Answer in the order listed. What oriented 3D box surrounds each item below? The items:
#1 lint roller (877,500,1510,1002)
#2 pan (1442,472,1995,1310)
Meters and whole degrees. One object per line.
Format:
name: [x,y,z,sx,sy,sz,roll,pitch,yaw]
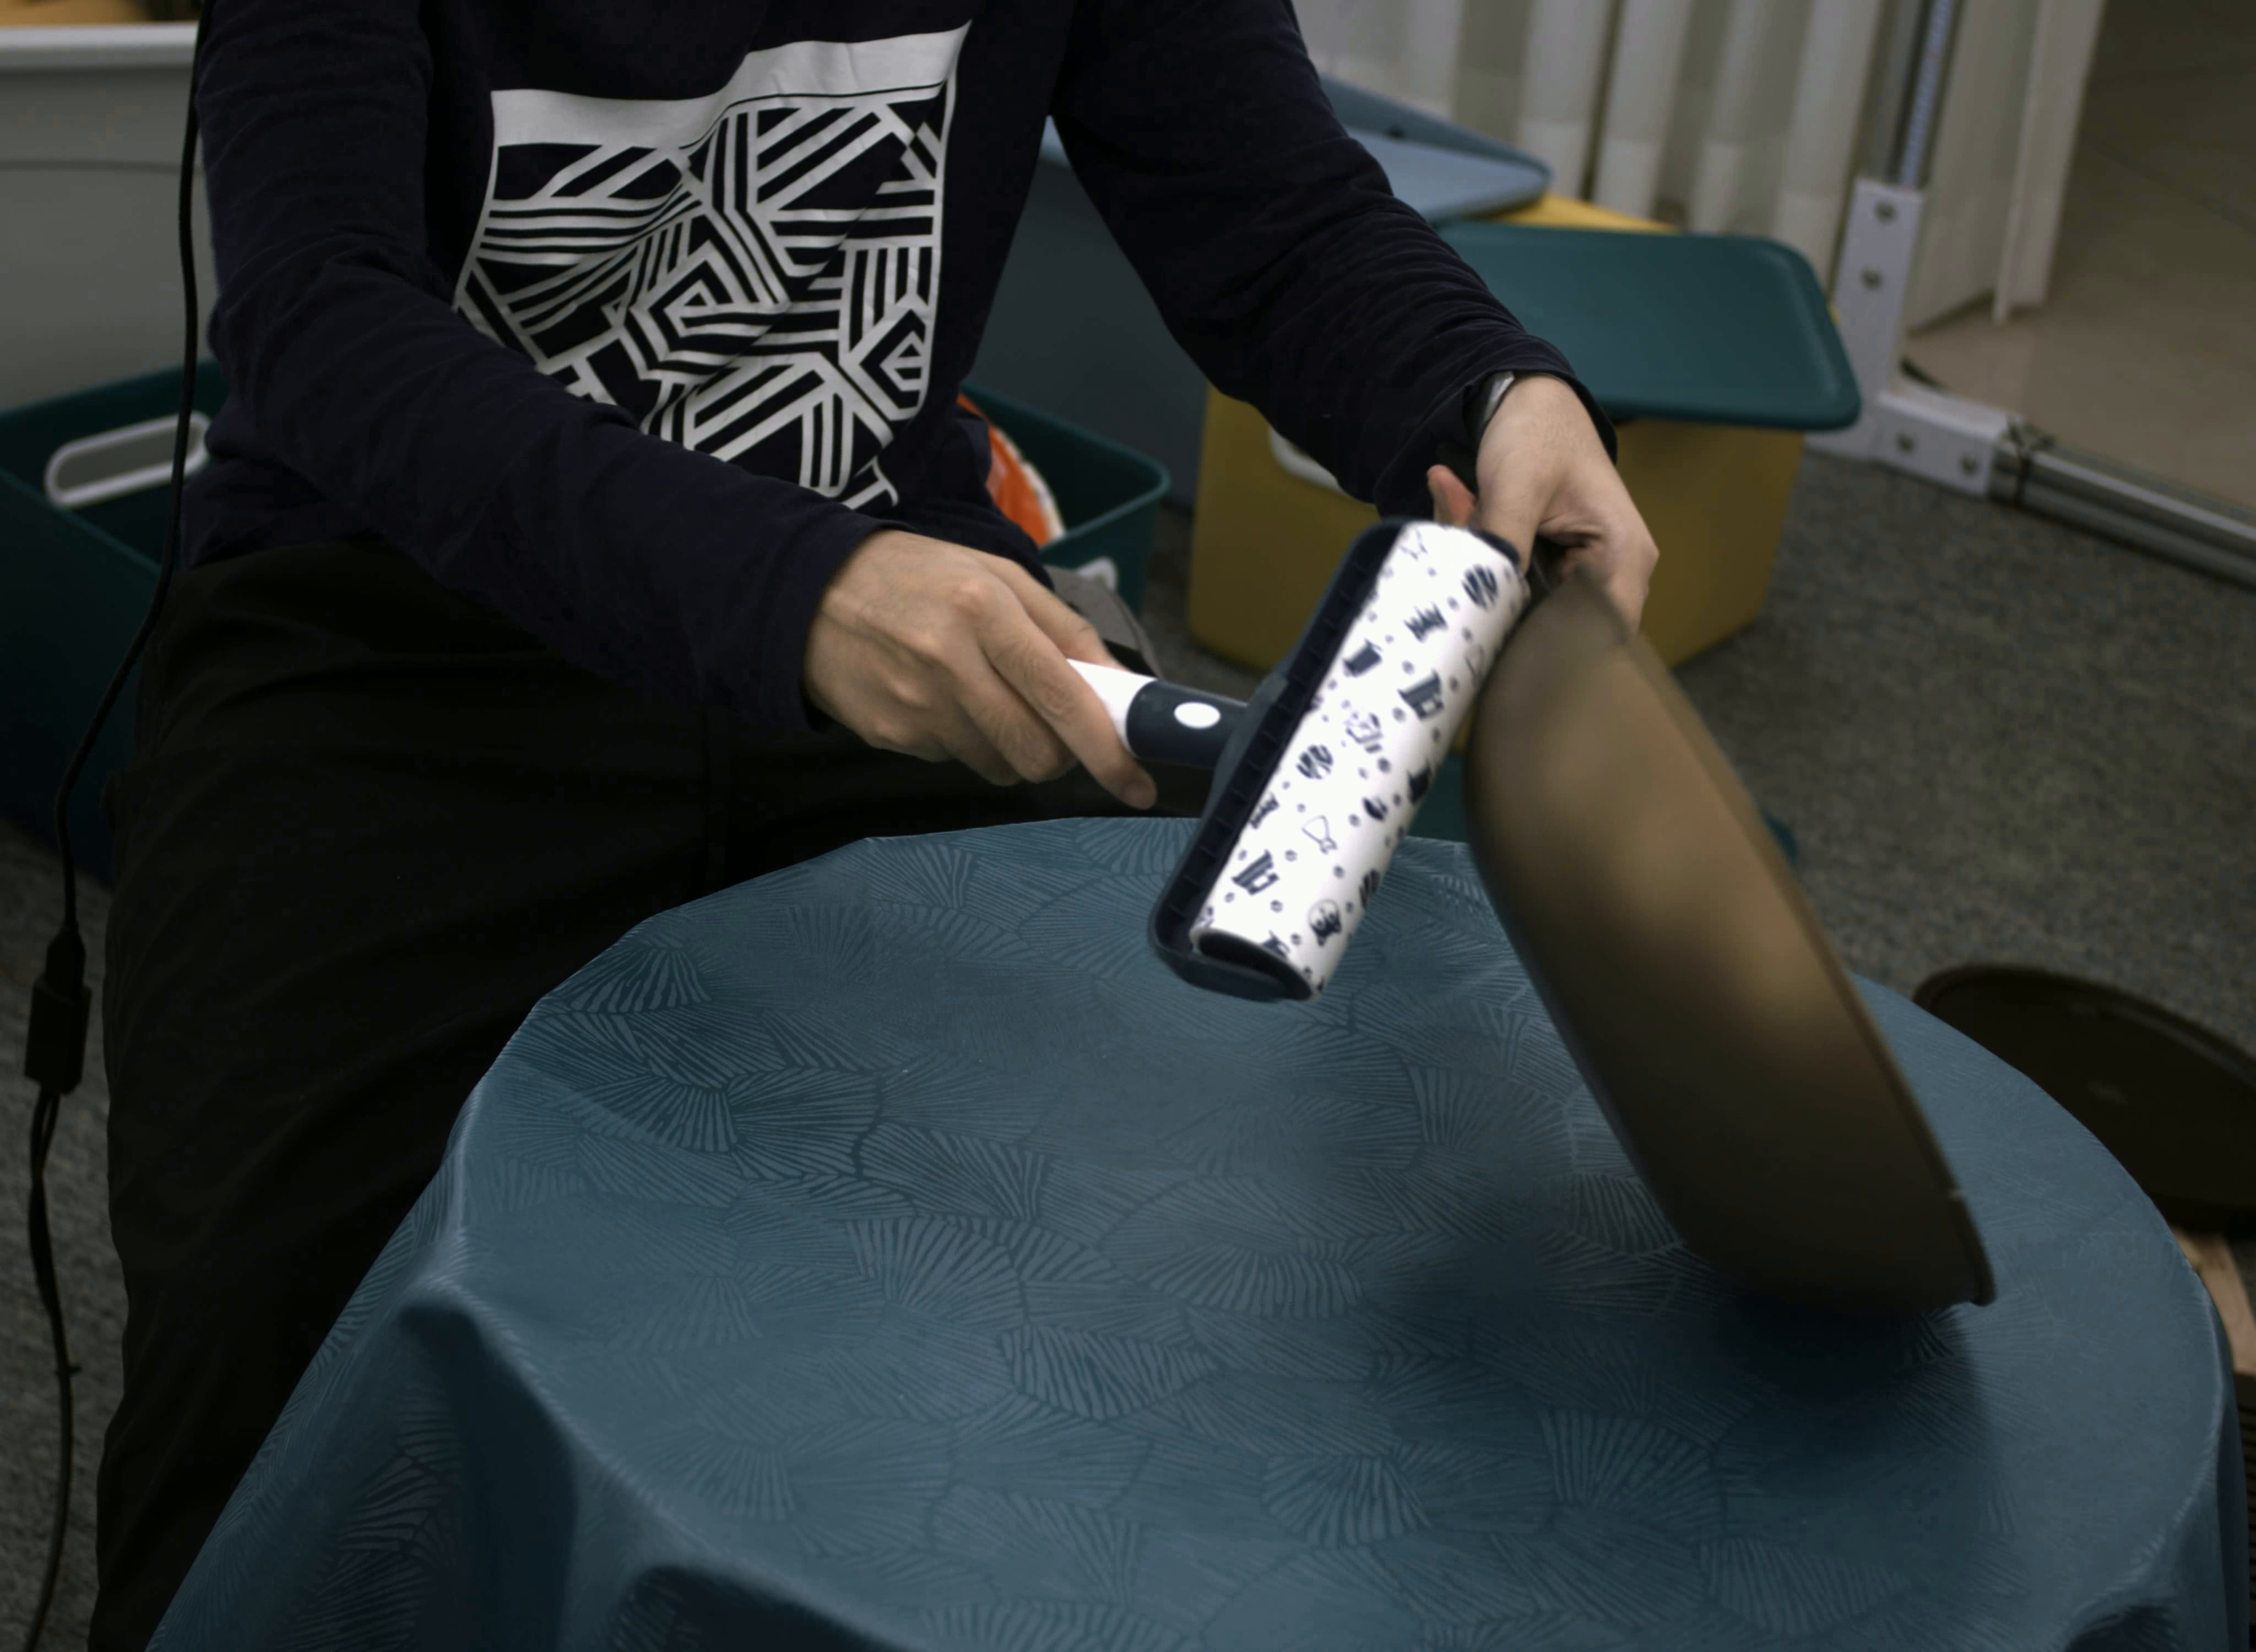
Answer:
lint roller: [-0.001,-0.038,1.800,0.248,0.177,0.050,11,-22,42]
pan: [0.154,0.003,1.825,0.087,0.286,0.467,-30,35,2]
